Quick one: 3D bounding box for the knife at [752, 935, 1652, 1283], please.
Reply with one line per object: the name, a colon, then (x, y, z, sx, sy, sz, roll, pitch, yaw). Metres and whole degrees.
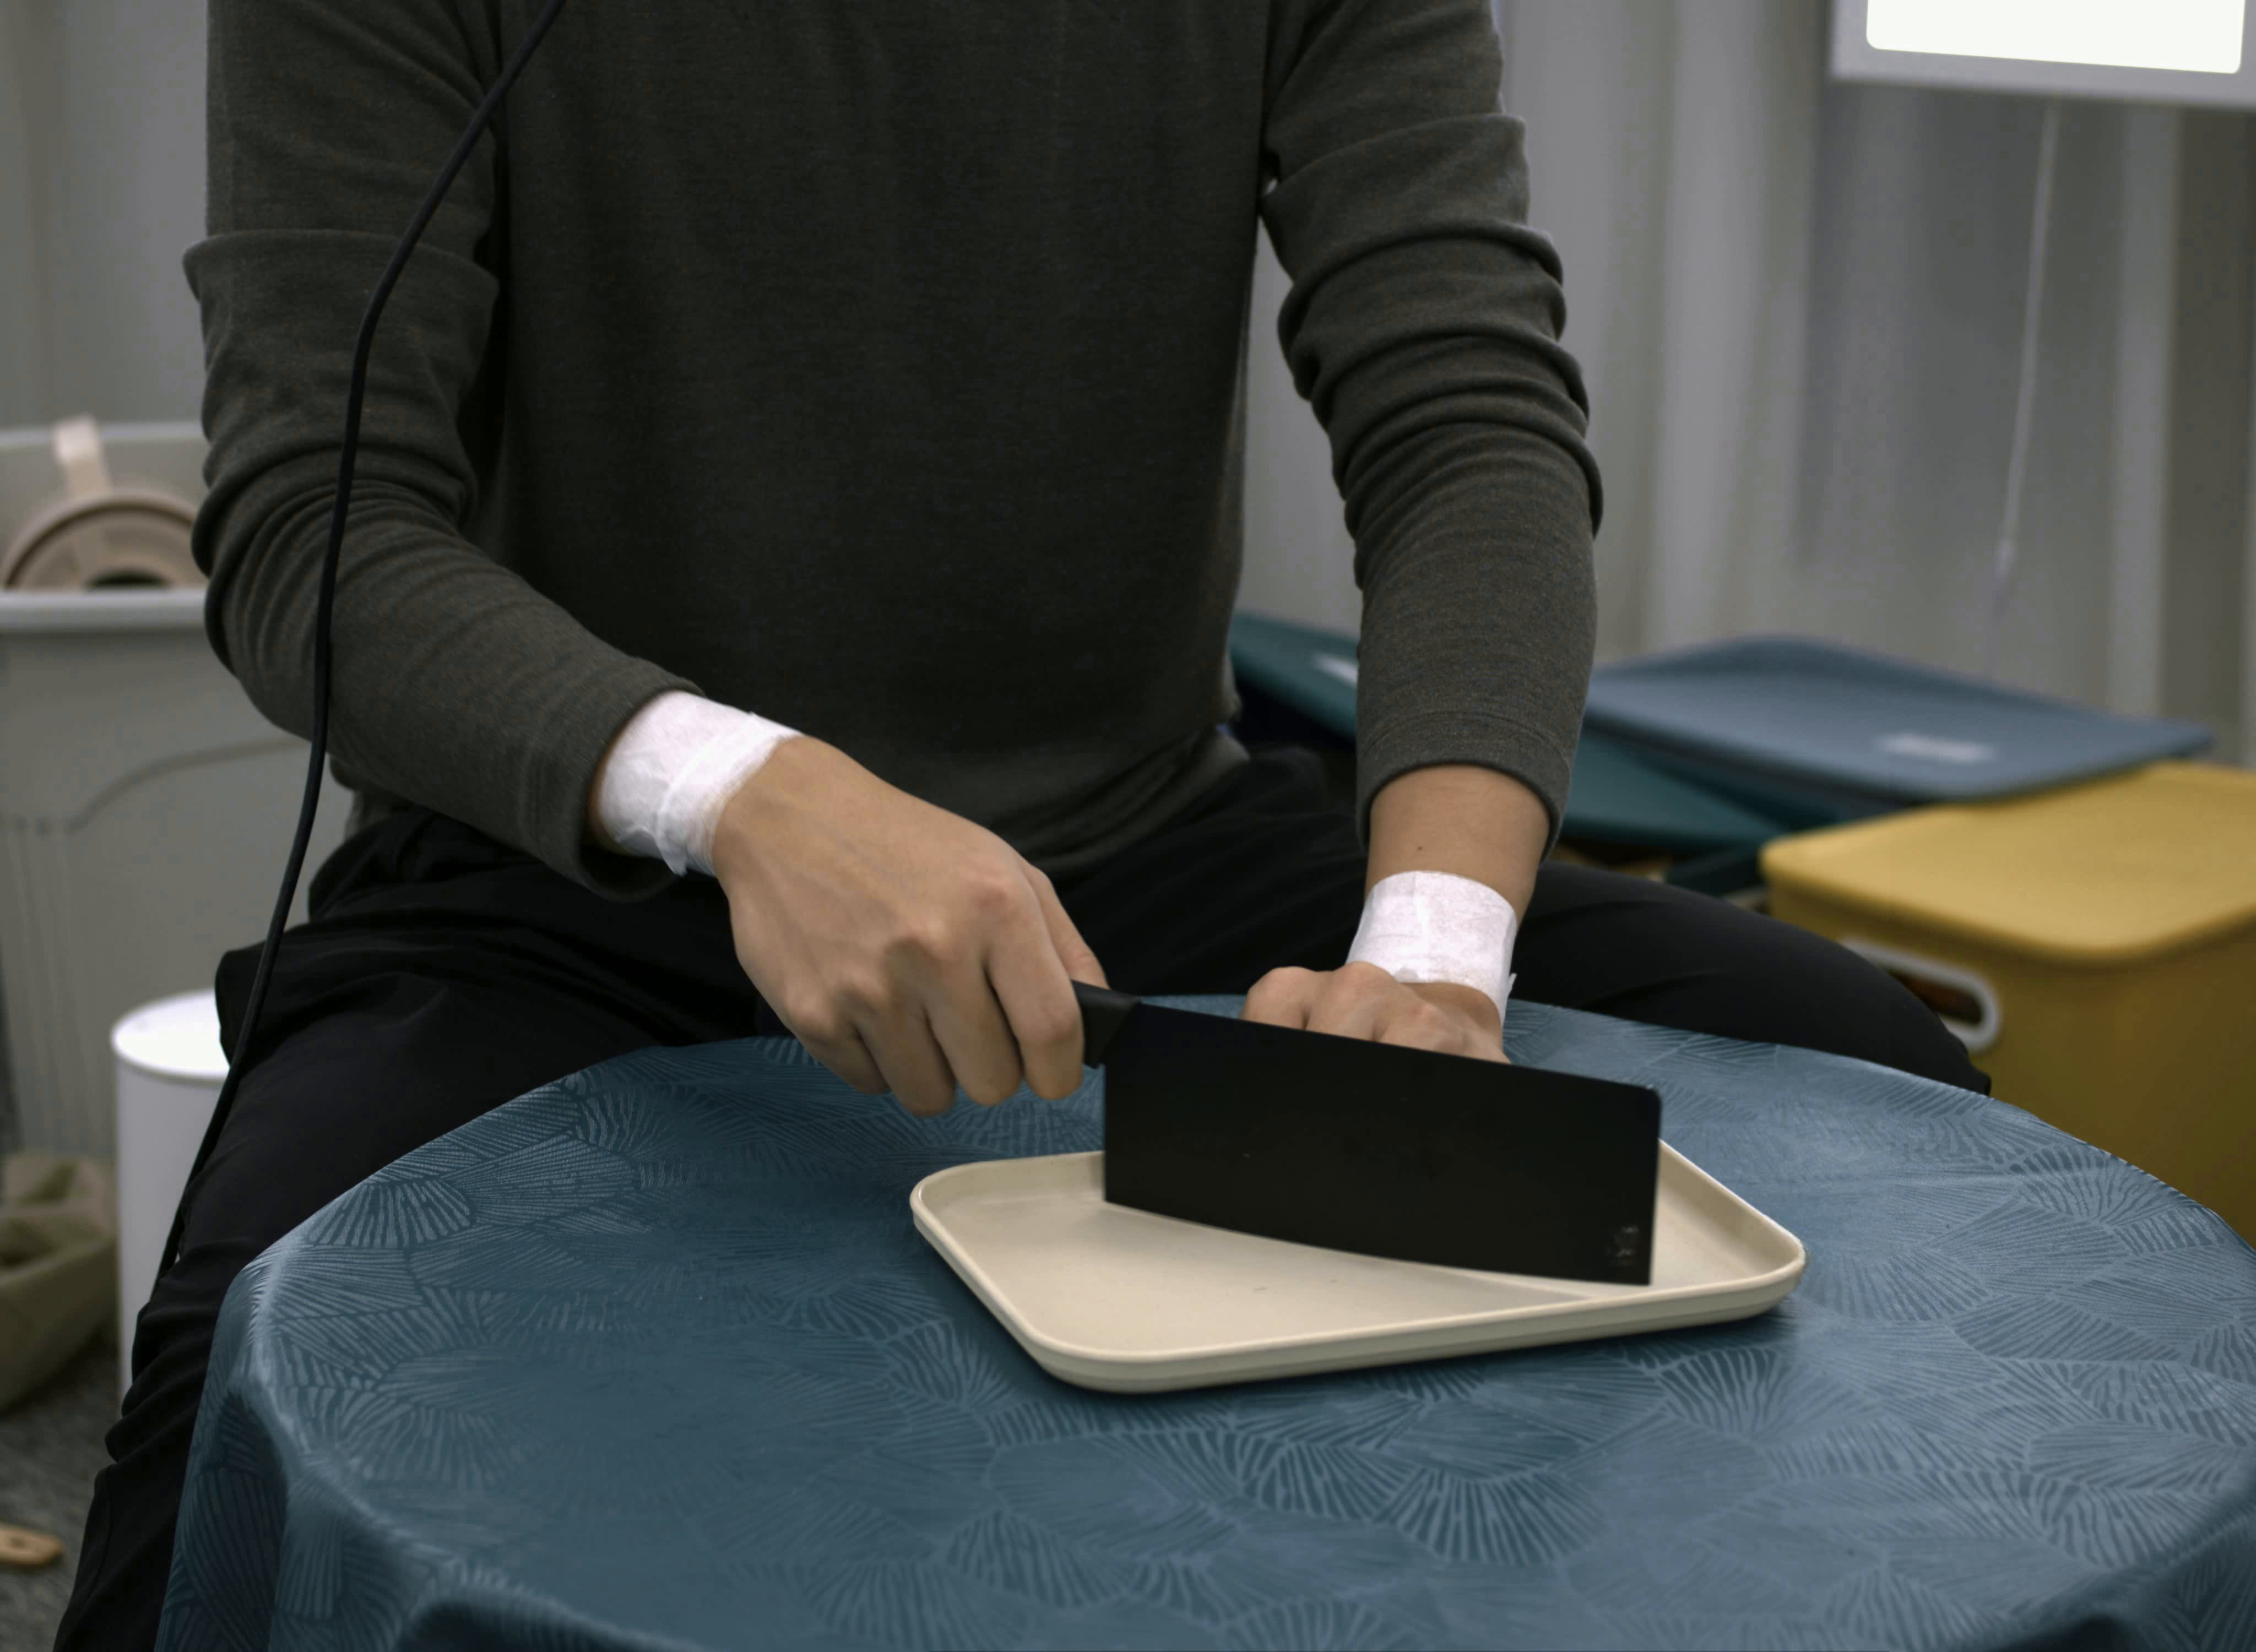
knife: (0.018, 0.081, 1.578, 0.299, 0.081, 0.021, 14, 18, 24)

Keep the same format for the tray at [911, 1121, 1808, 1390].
tray: (0.067, 0.124, 1.553, 0.240, 0.017, 0.169, -5, 15, -19)
